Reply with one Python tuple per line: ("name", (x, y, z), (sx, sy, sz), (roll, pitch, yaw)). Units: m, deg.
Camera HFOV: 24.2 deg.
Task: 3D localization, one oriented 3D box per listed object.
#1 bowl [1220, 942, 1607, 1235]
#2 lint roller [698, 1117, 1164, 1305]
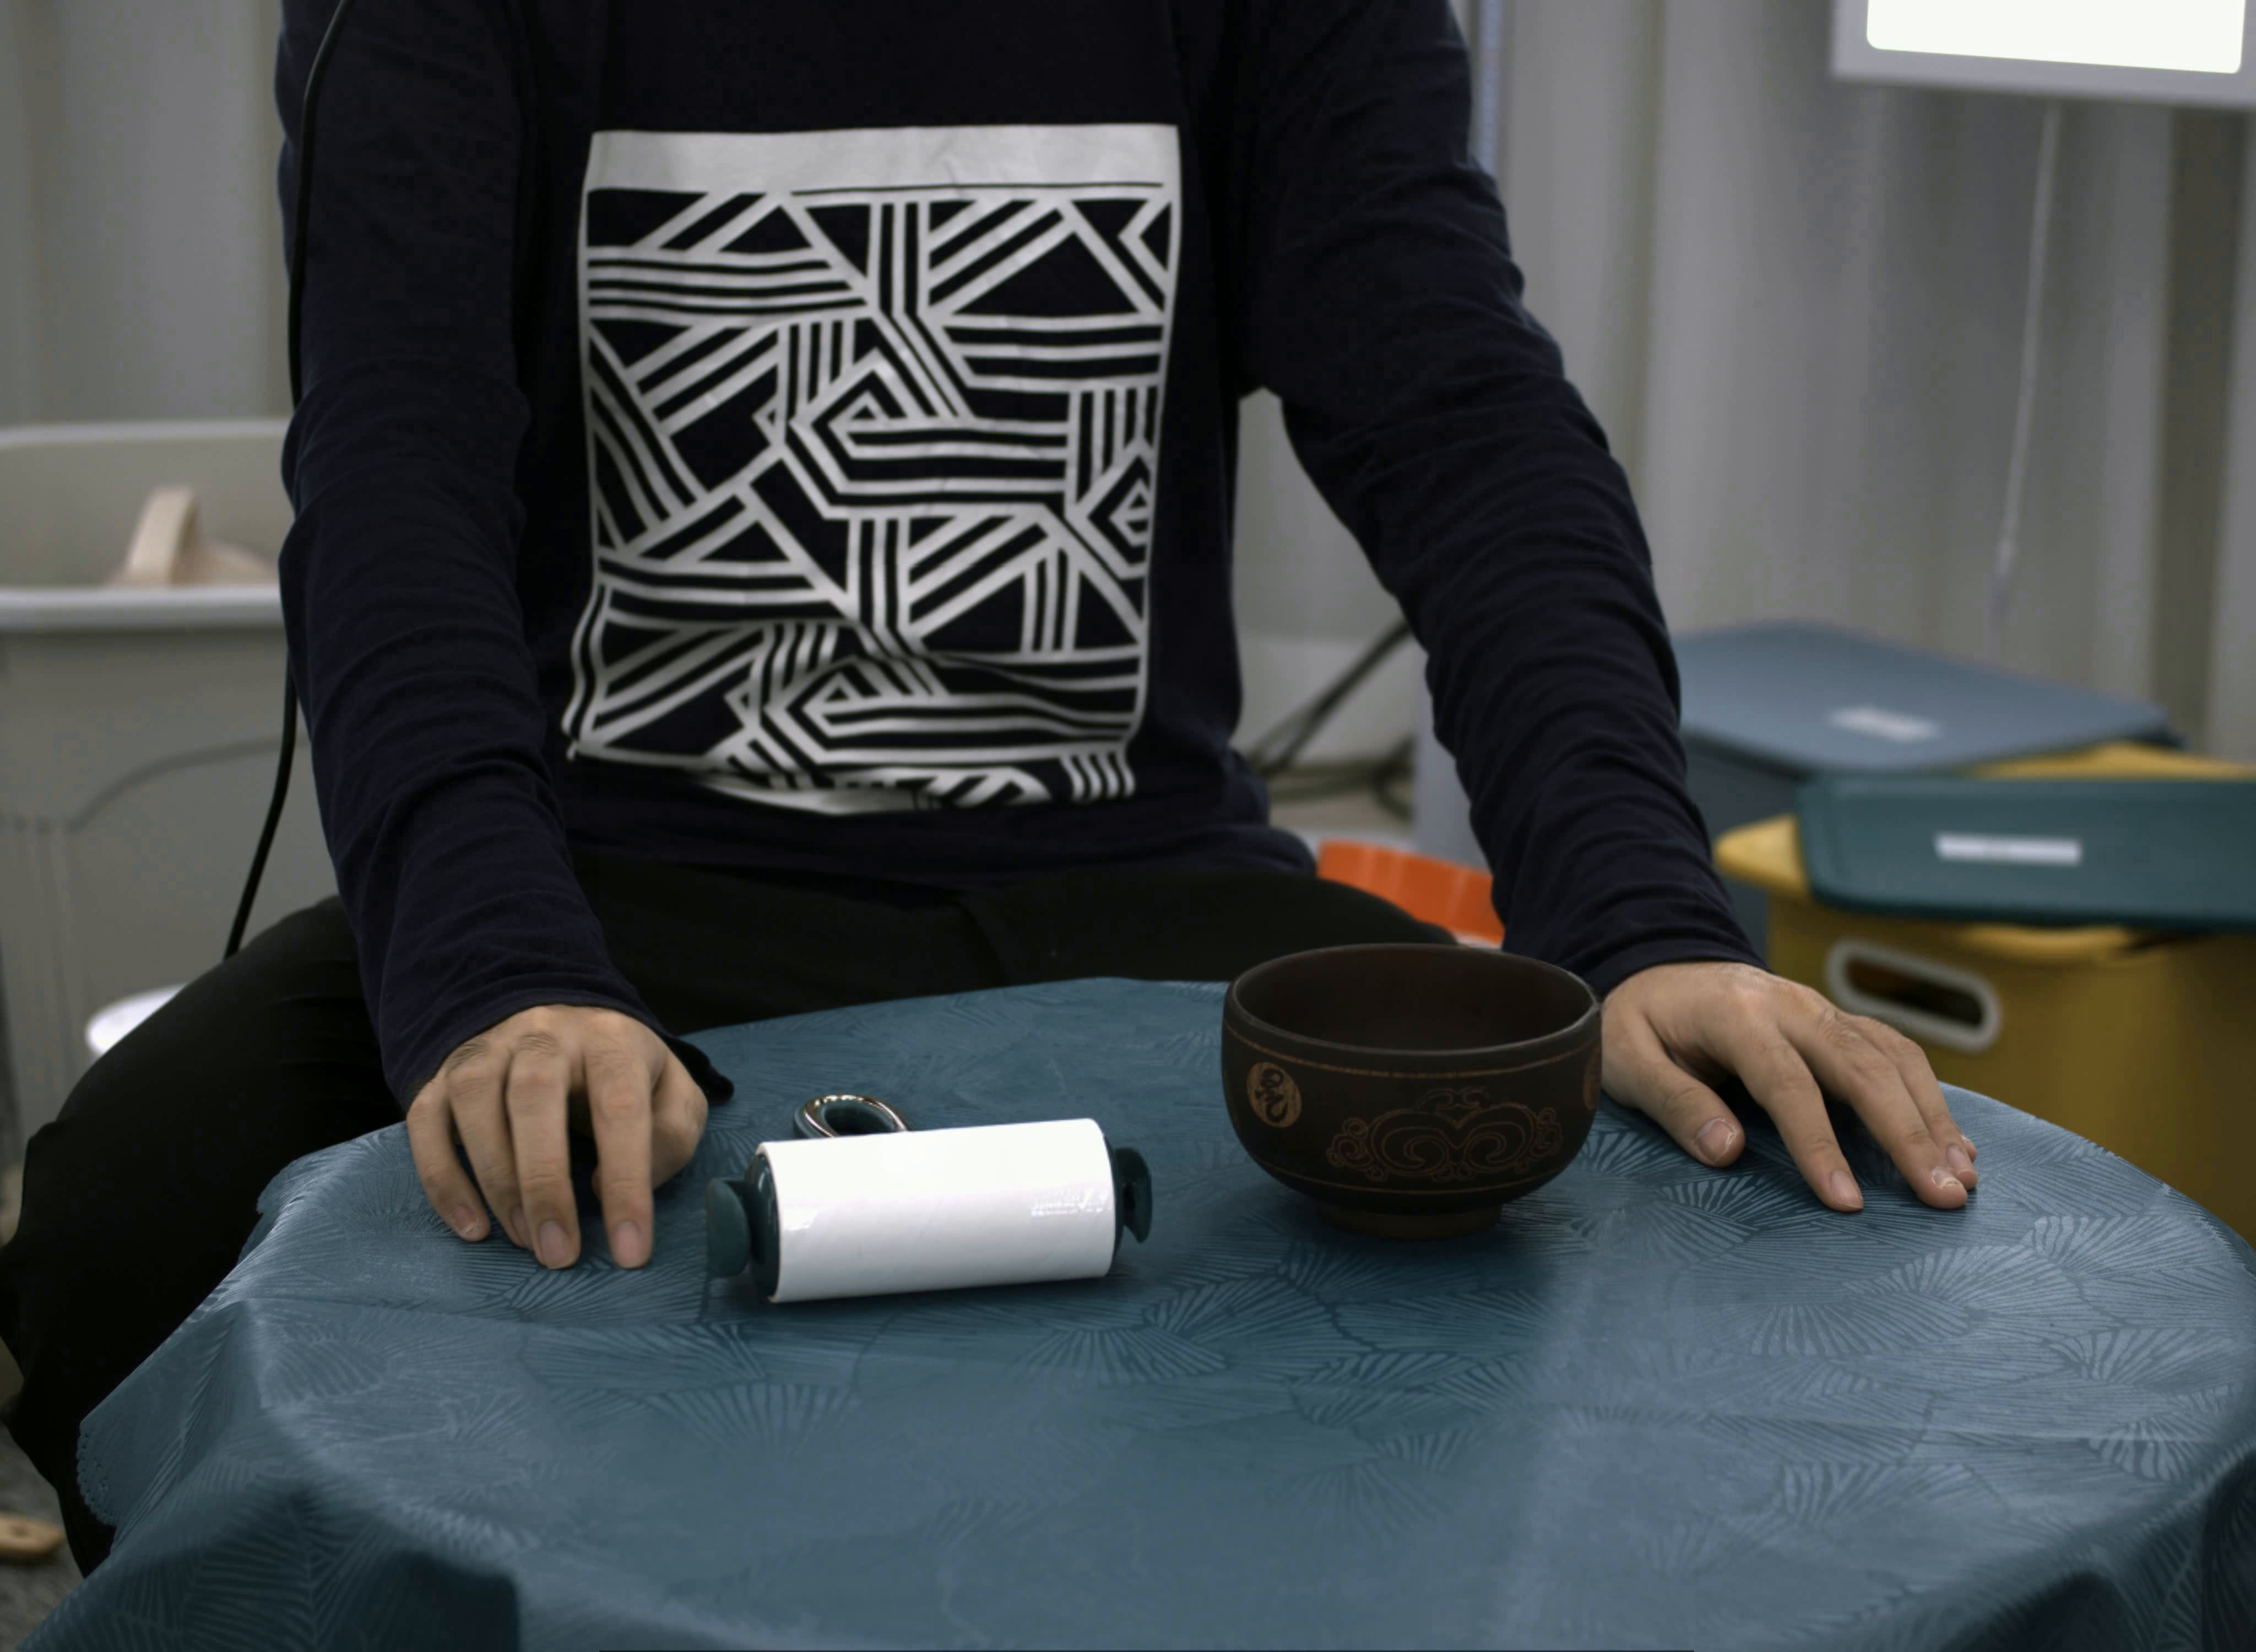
("bowl", (0.087, 0.083, 1.600), (0.117, 0.070, 0.117), (-2, 14, 1))
("lint roller", (-0.074, 0.099, 1.597), (0.134, 0.048, 0.178), (-4, 13, -14))
